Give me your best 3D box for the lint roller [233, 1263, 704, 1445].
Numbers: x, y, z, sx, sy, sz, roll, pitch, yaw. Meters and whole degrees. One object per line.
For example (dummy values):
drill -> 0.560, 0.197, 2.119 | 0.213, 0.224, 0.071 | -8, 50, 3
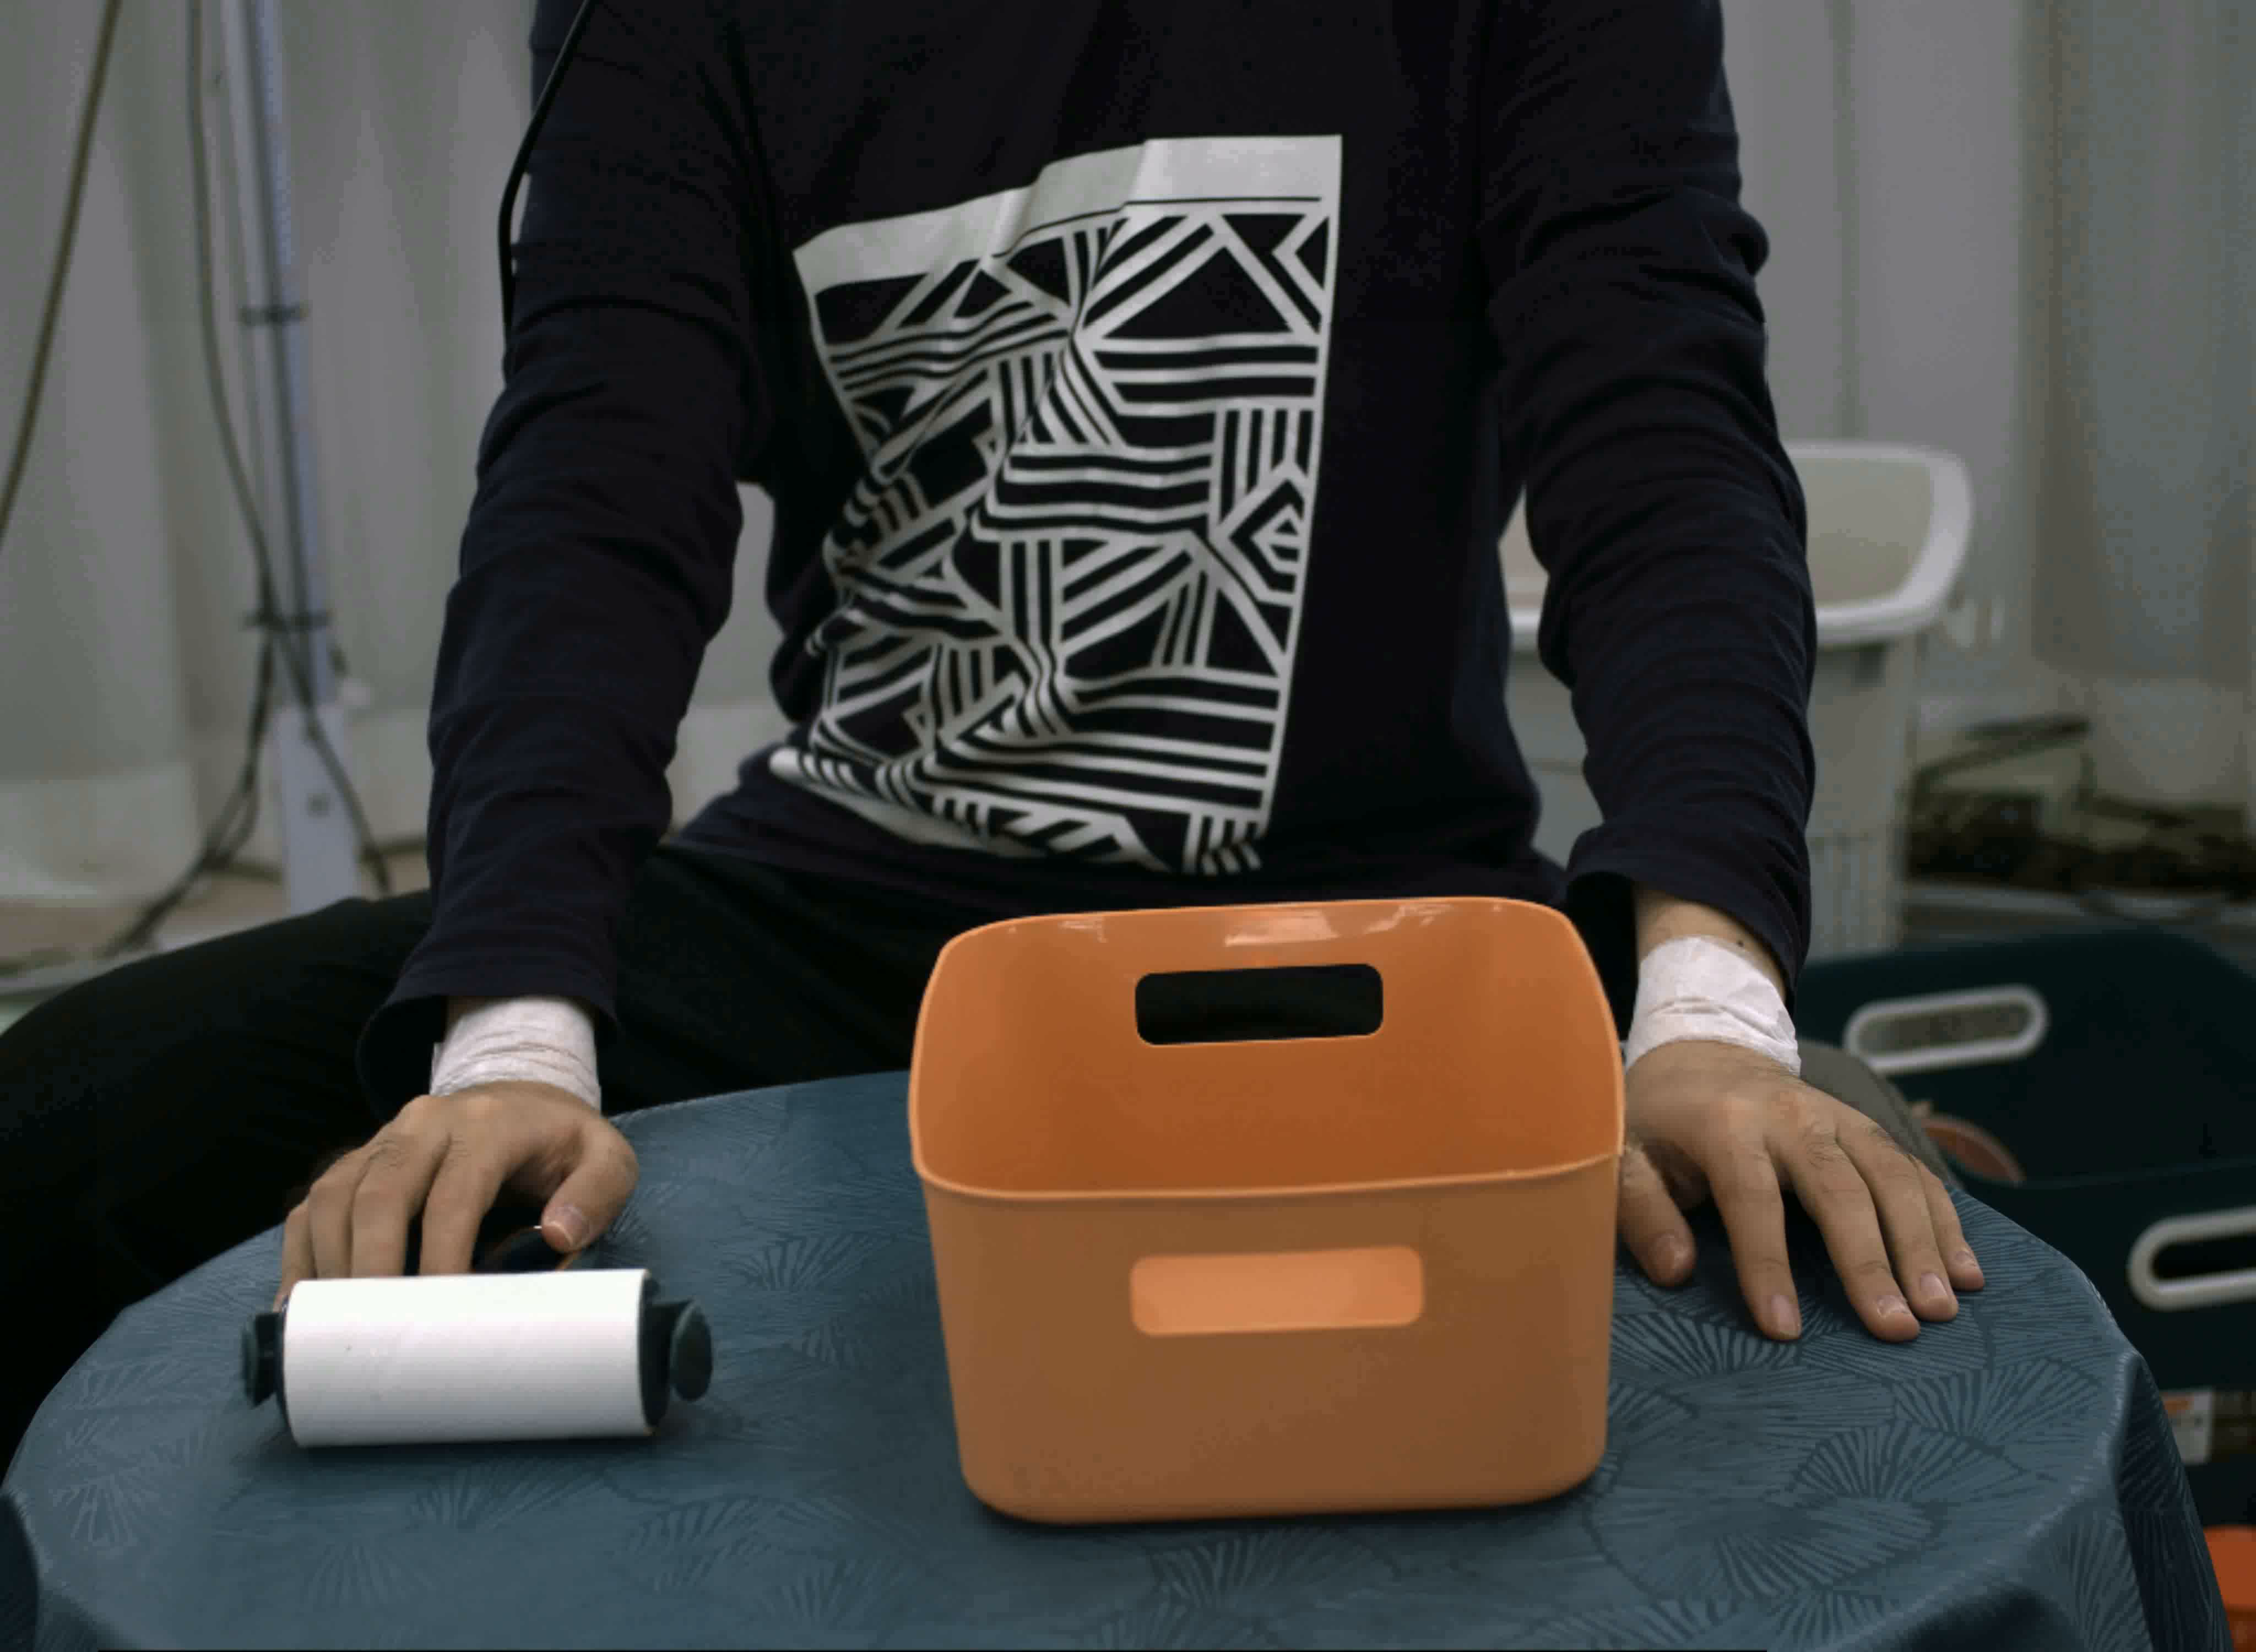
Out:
lint roller -> -0.181, 0.136, 1.596 | 0.134, 0.048, 0.181 | -3, 11, 3

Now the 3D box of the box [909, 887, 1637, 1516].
box -> 0.040, 0.103, 1.546 | 0.199, 0.102, 0.275 | -2, 14, 0
